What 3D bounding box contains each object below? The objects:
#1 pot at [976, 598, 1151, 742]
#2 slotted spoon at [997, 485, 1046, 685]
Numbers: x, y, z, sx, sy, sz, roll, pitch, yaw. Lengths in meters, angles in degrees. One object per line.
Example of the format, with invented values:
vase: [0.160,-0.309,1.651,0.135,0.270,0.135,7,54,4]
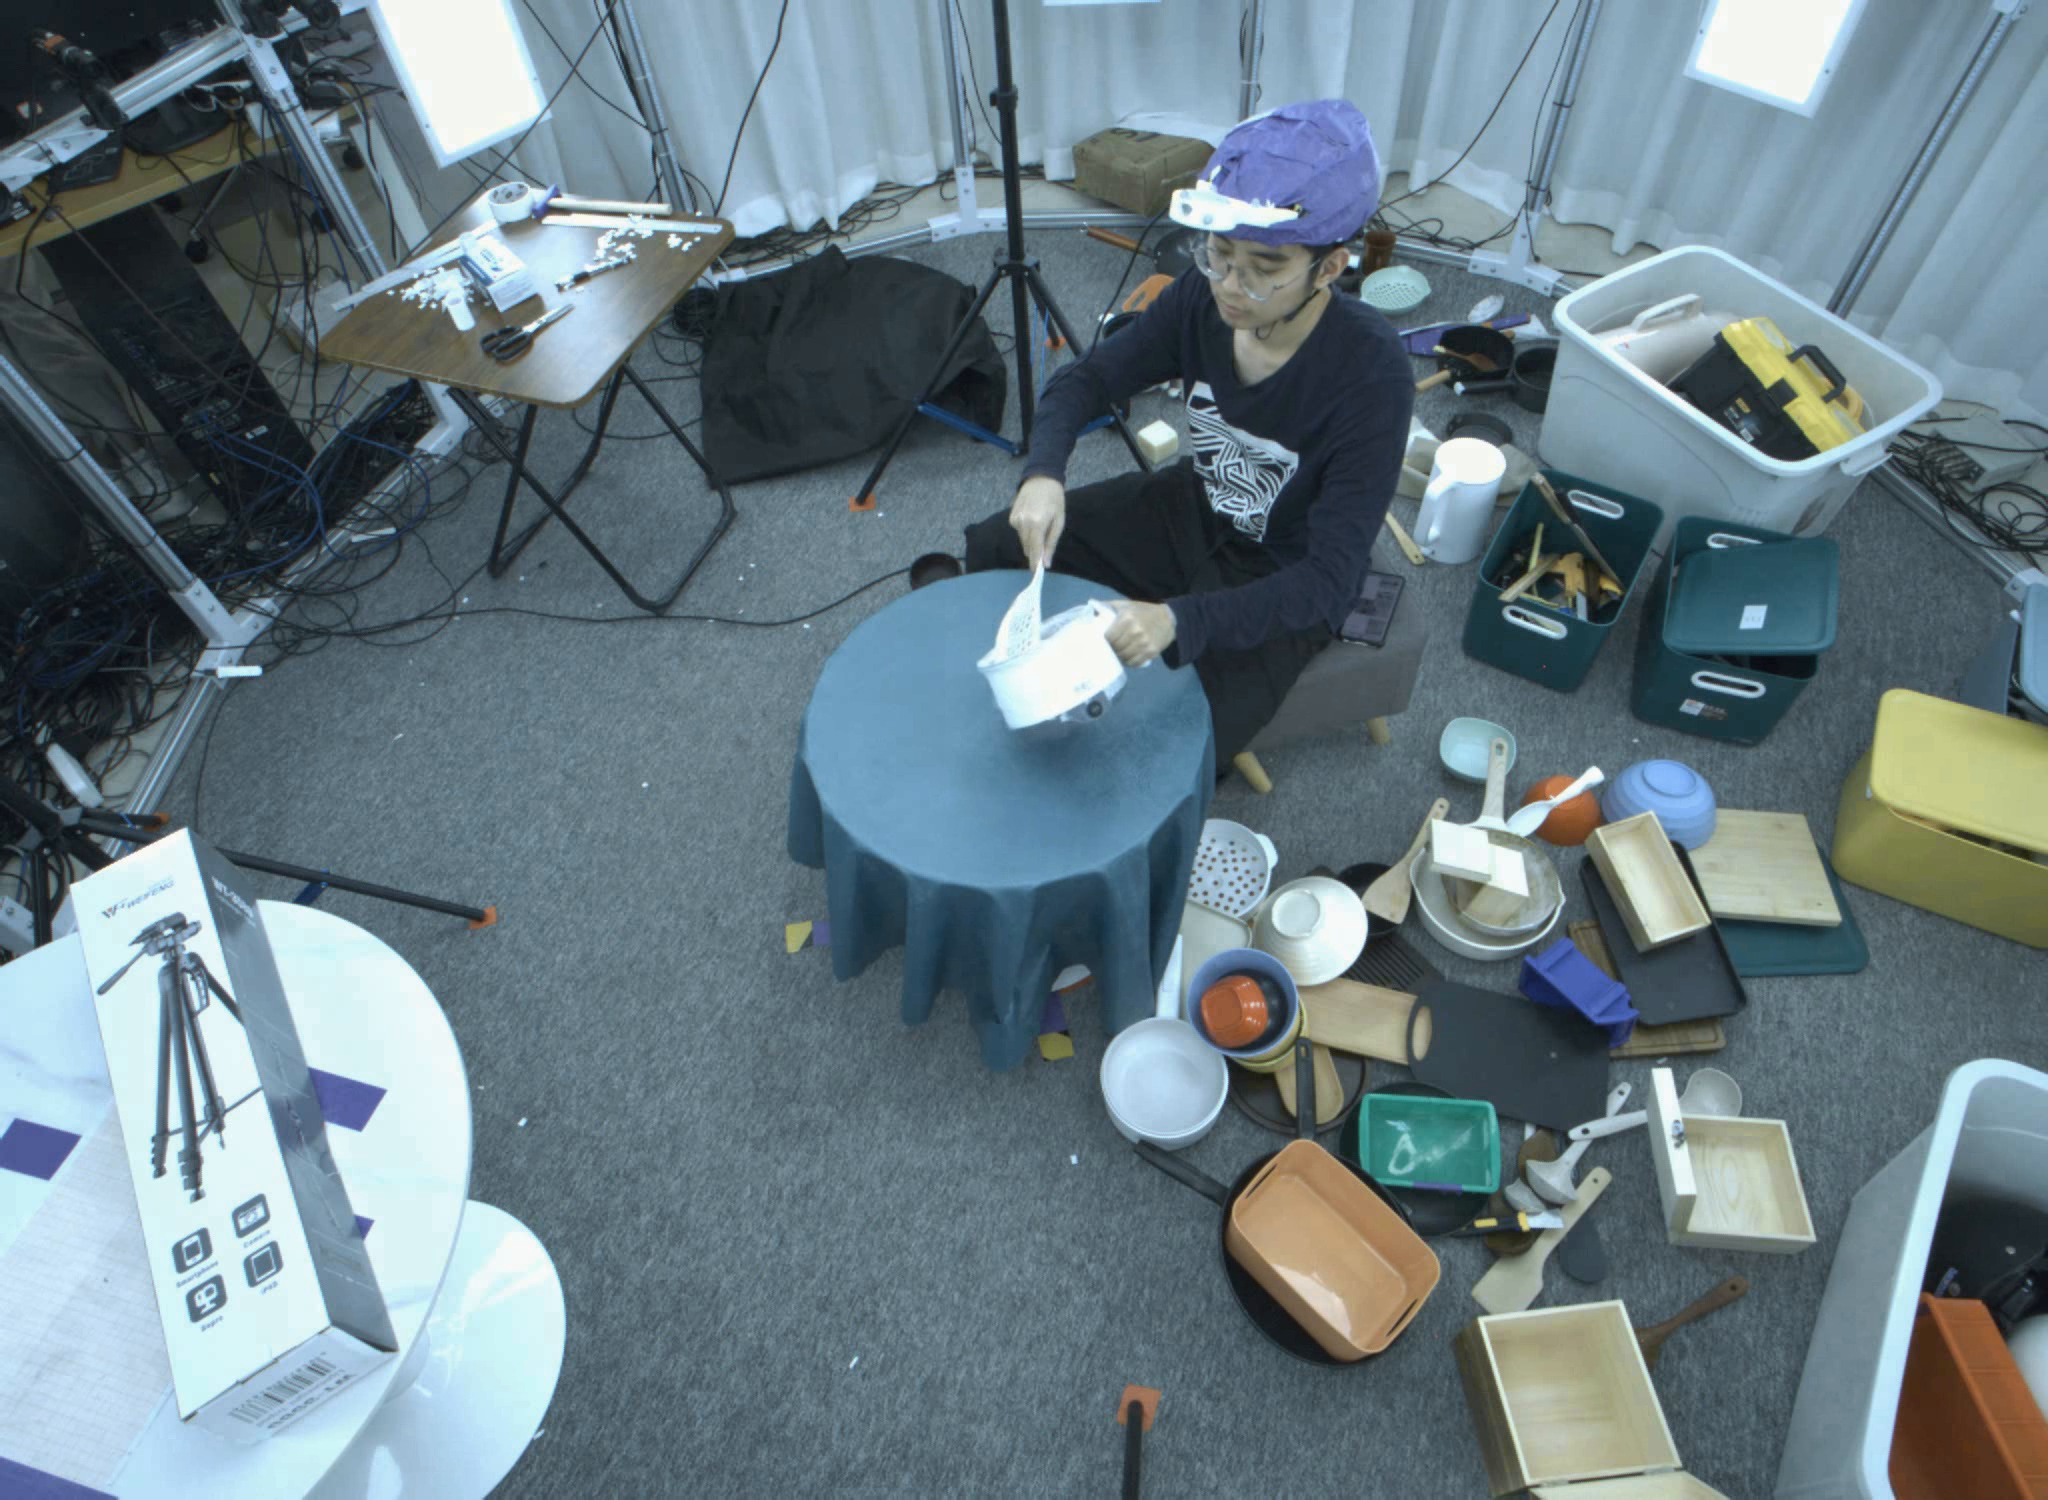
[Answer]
pot: [0.064,-0.118,1.717,0.235,0.138,0.175,-33,17,-18]
slotted spoon: [0.007,-0.232,1.746,0.049,0.139,0.346,0,65,24]
